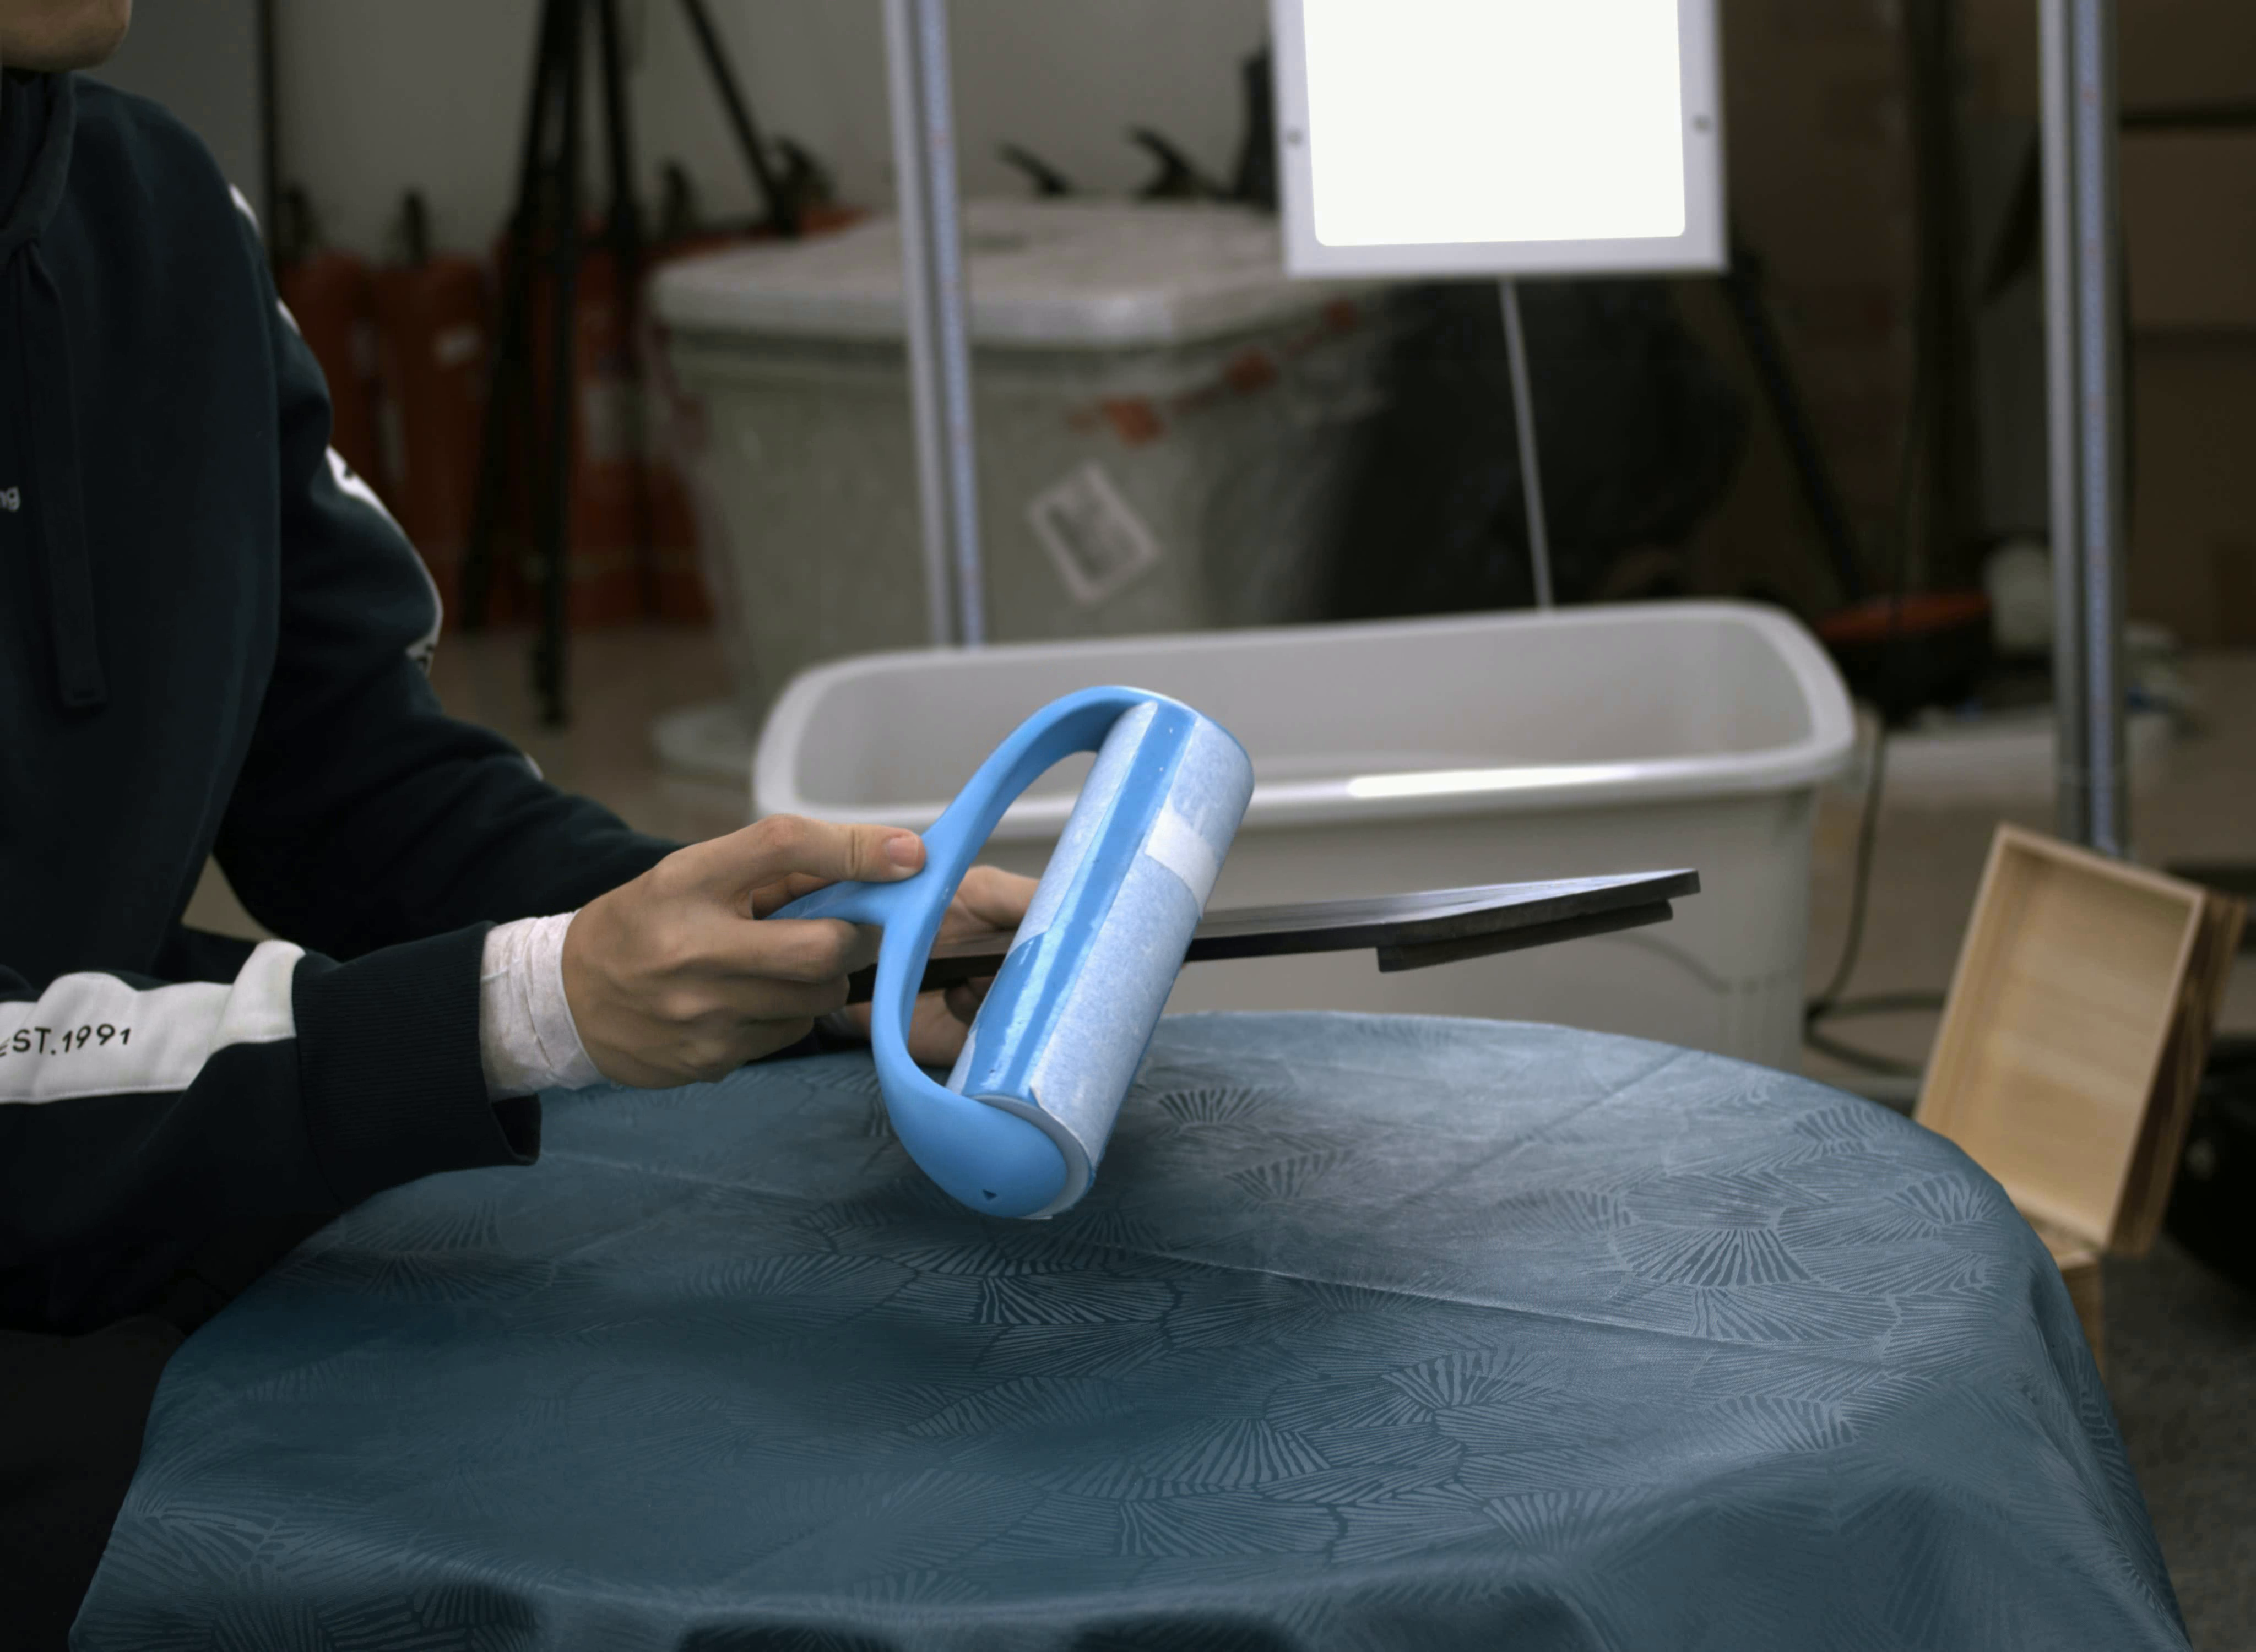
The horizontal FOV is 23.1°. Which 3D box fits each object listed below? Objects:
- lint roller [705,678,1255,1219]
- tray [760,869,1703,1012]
[{"bbox_3d":[-0.064,0.041,1.780,0.183,0.067,0.226,-4,41,22],"label":"lint roller"},{"bbox_3d":[0.031,0.040,1.891,0.313,0.018,0.166,-6,1,41],"label":"tray"}]
